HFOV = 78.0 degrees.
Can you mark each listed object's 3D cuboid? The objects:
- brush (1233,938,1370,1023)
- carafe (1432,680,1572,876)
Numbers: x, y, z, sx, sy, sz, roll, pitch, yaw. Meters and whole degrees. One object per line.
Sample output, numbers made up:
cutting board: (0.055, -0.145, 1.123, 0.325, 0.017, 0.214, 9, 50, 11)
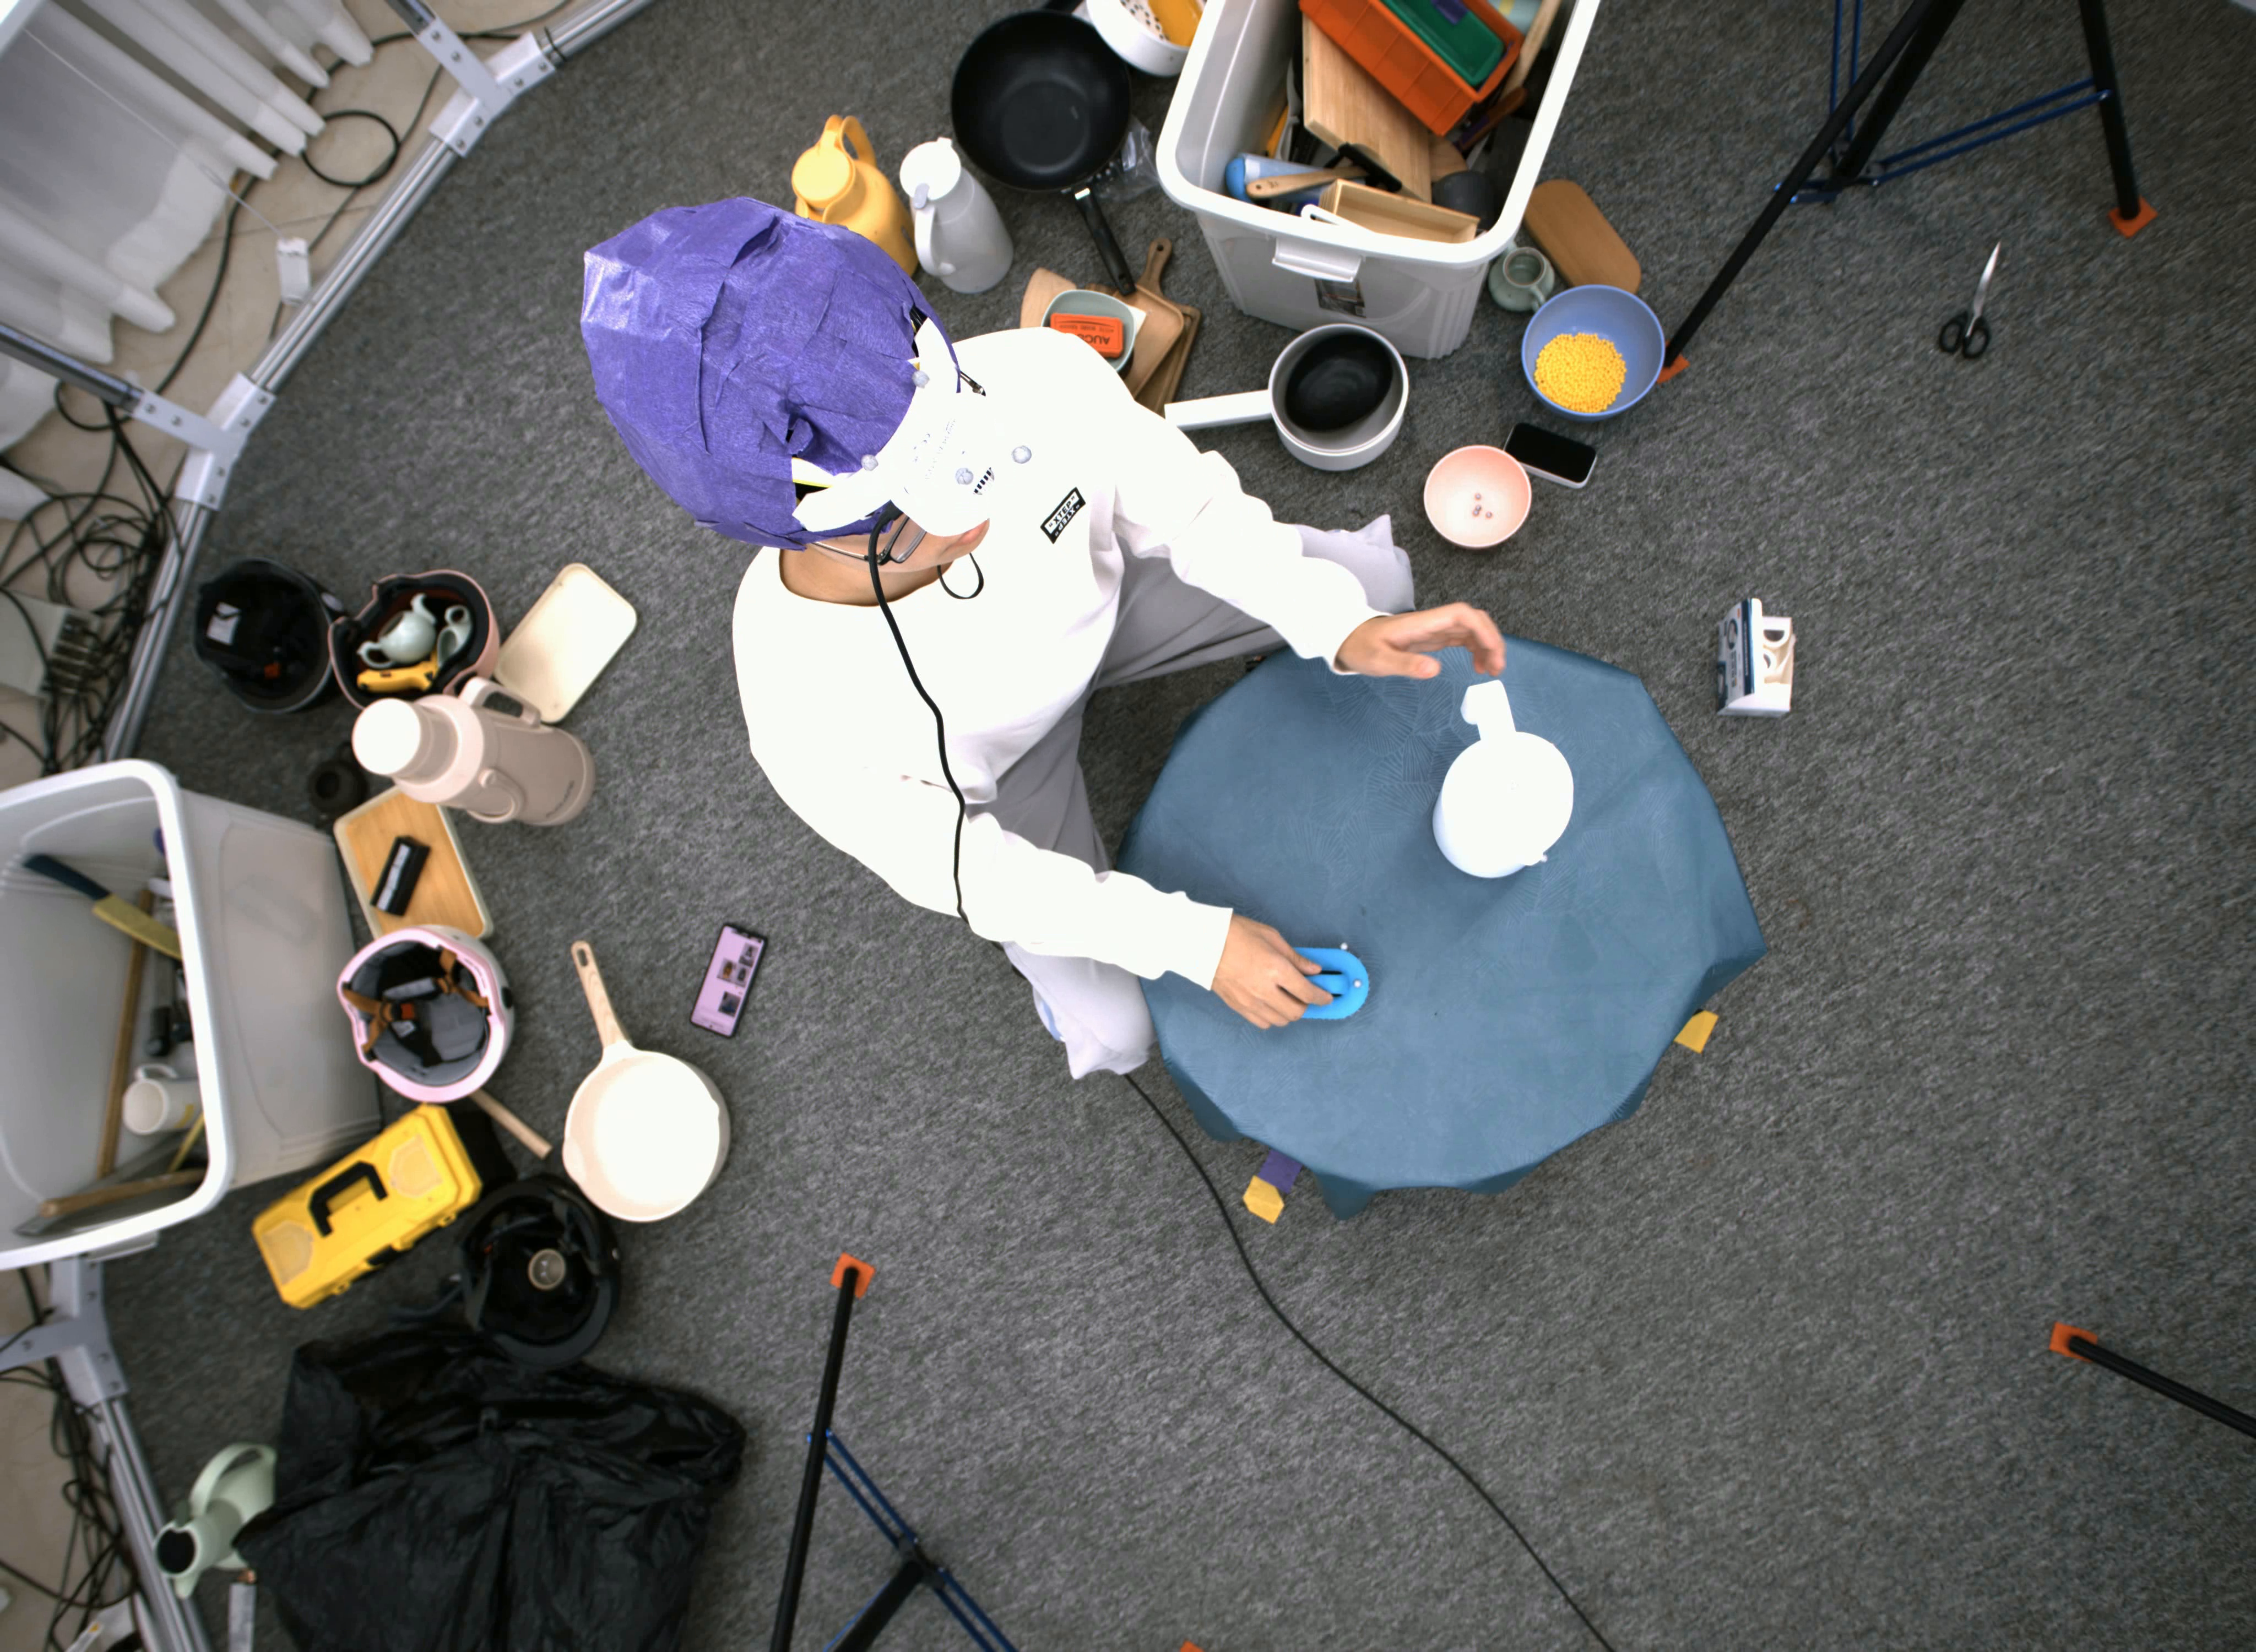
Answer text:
brush: (0.179, 0.160, 1.438, 0.142, 0.063, 0.084, 2, 91, 11)
carafe: (0.351, -0.038, 1.315, 0.124, 0.269, 0.171, -14, 82, 10)
